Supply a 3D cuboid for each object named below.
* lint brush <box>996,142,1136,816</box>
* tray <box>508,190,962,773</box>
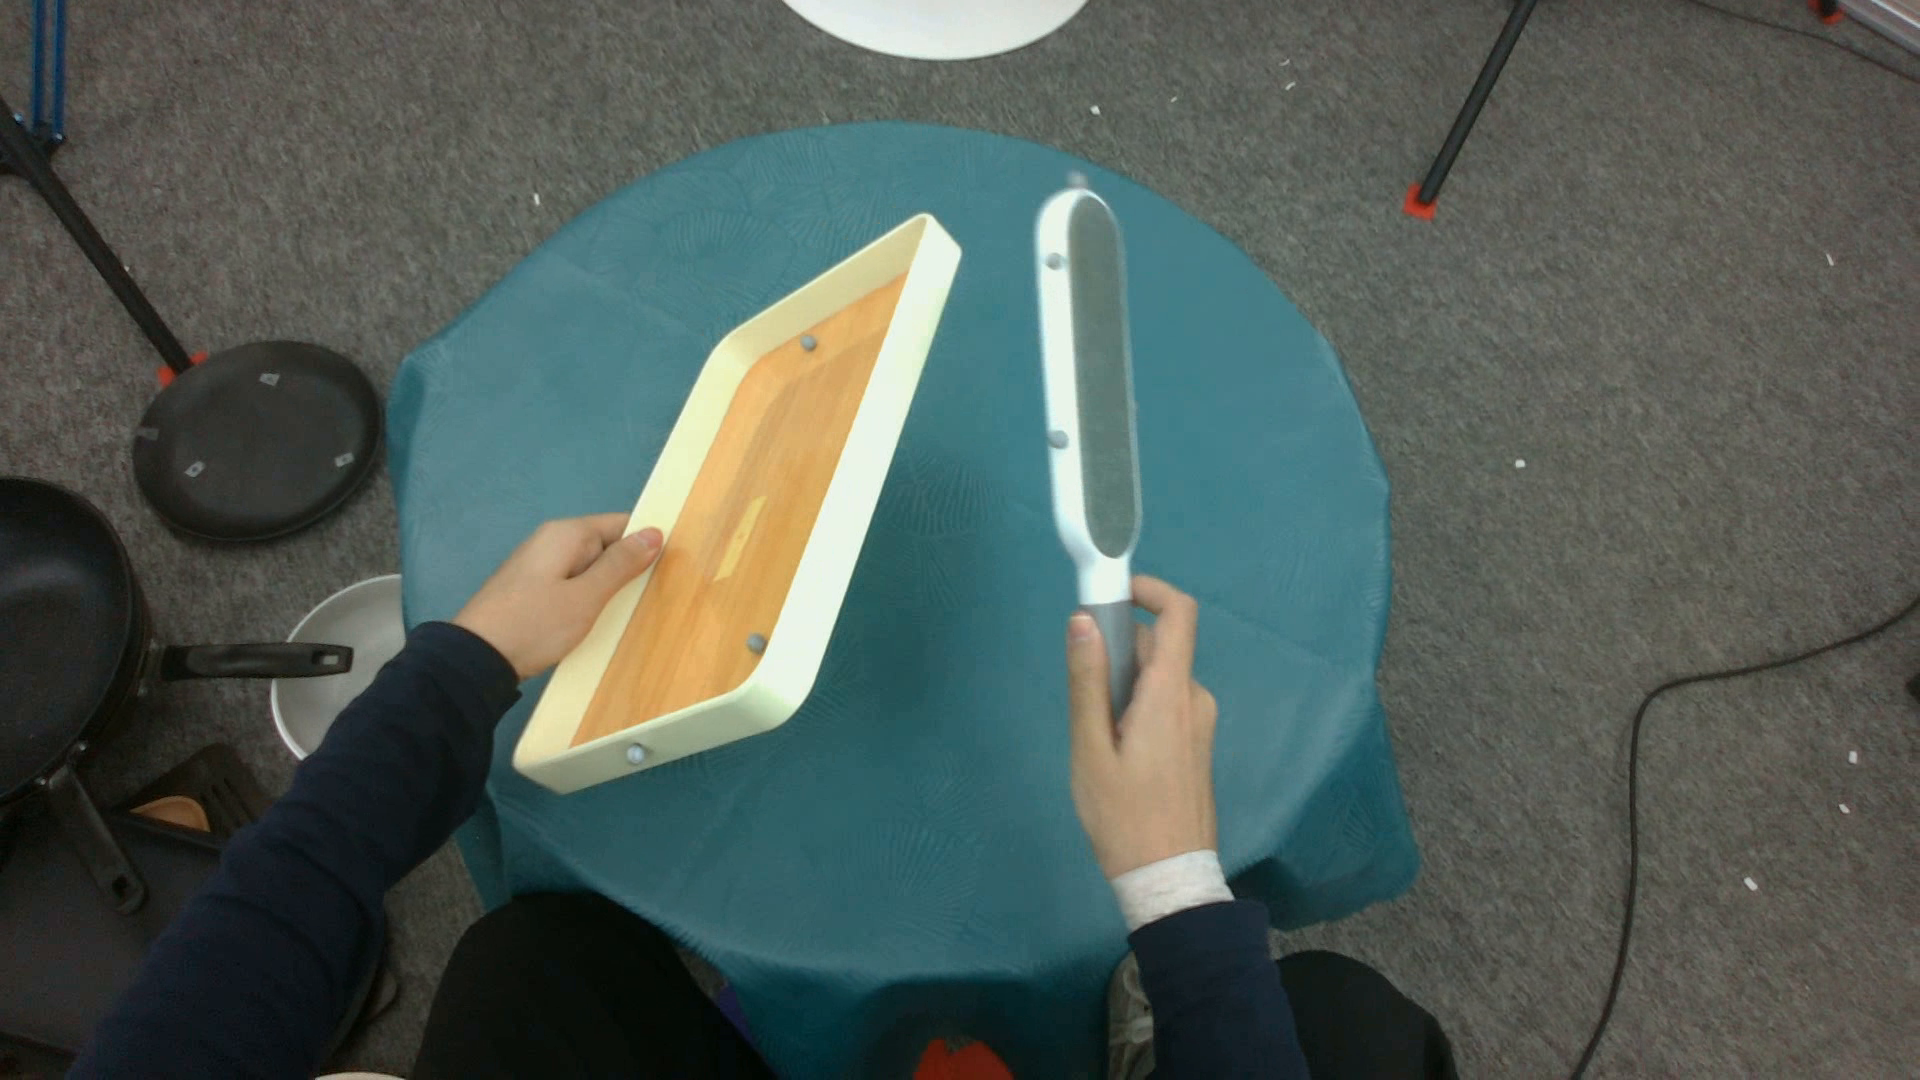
[{"bbox_3d":[0.051,-0.026,0.627,0.021,0.060,0.309,-6,93,30],"label":"lint brush"},{"bbox_3d":[-0.104,-0.034,0.673,0.027,0.191,0.302,41,48,-29],"label":"tray"}]
